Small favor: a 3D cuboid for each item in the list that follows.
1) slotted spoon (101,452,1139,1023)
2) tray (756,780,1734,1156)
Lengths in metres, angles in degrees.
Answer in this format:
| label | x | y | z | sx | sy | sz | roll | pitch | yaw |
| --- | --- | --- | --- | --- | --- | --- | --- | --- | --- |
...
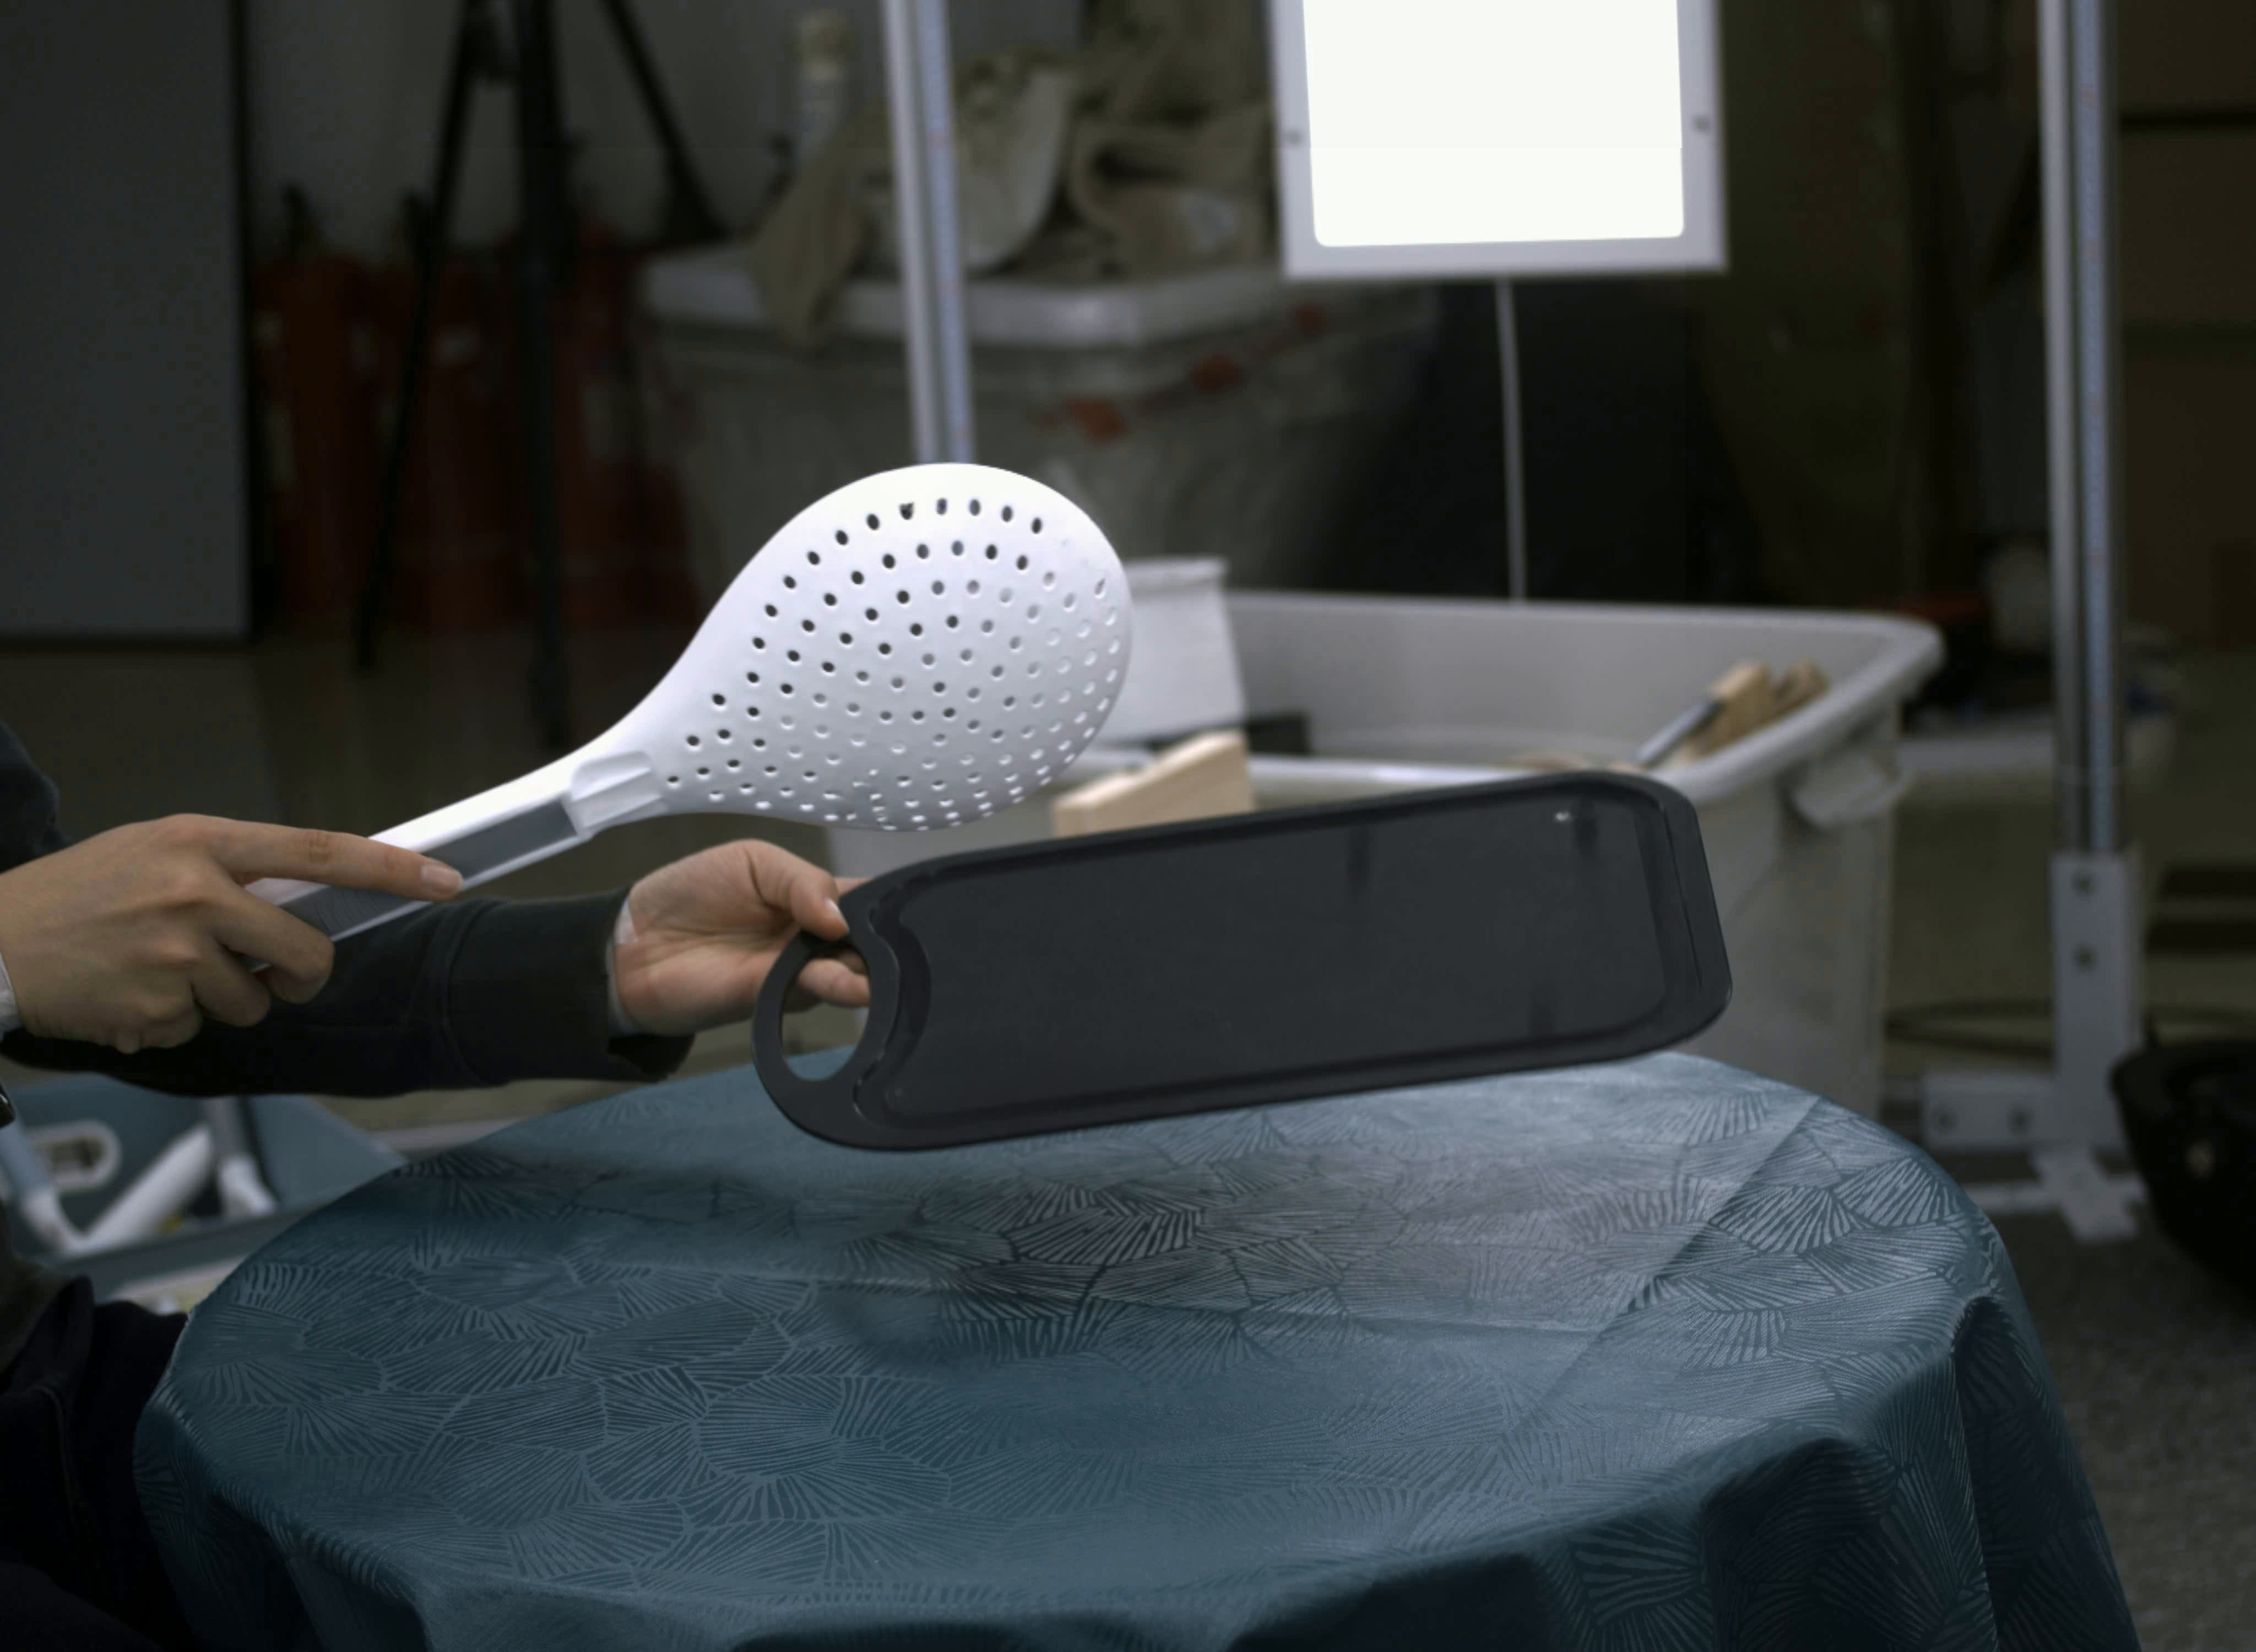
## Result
| label | x | y | z | sx | sy | sz | roll | pitch | yaw |
| --- | --- | --- | --- | --- | --- | --- | --- | --- | --- |
| slotted spoon | -0.161 | -0.014 | 1.750 | 0.350 | 0.135 | 0.046 | -19 | 33 | 6 |
| tray | 0.036 | 0.045 | 1.831 | 0.326 | 0.010 | 0.210 | -7 | 26 | 6 |
